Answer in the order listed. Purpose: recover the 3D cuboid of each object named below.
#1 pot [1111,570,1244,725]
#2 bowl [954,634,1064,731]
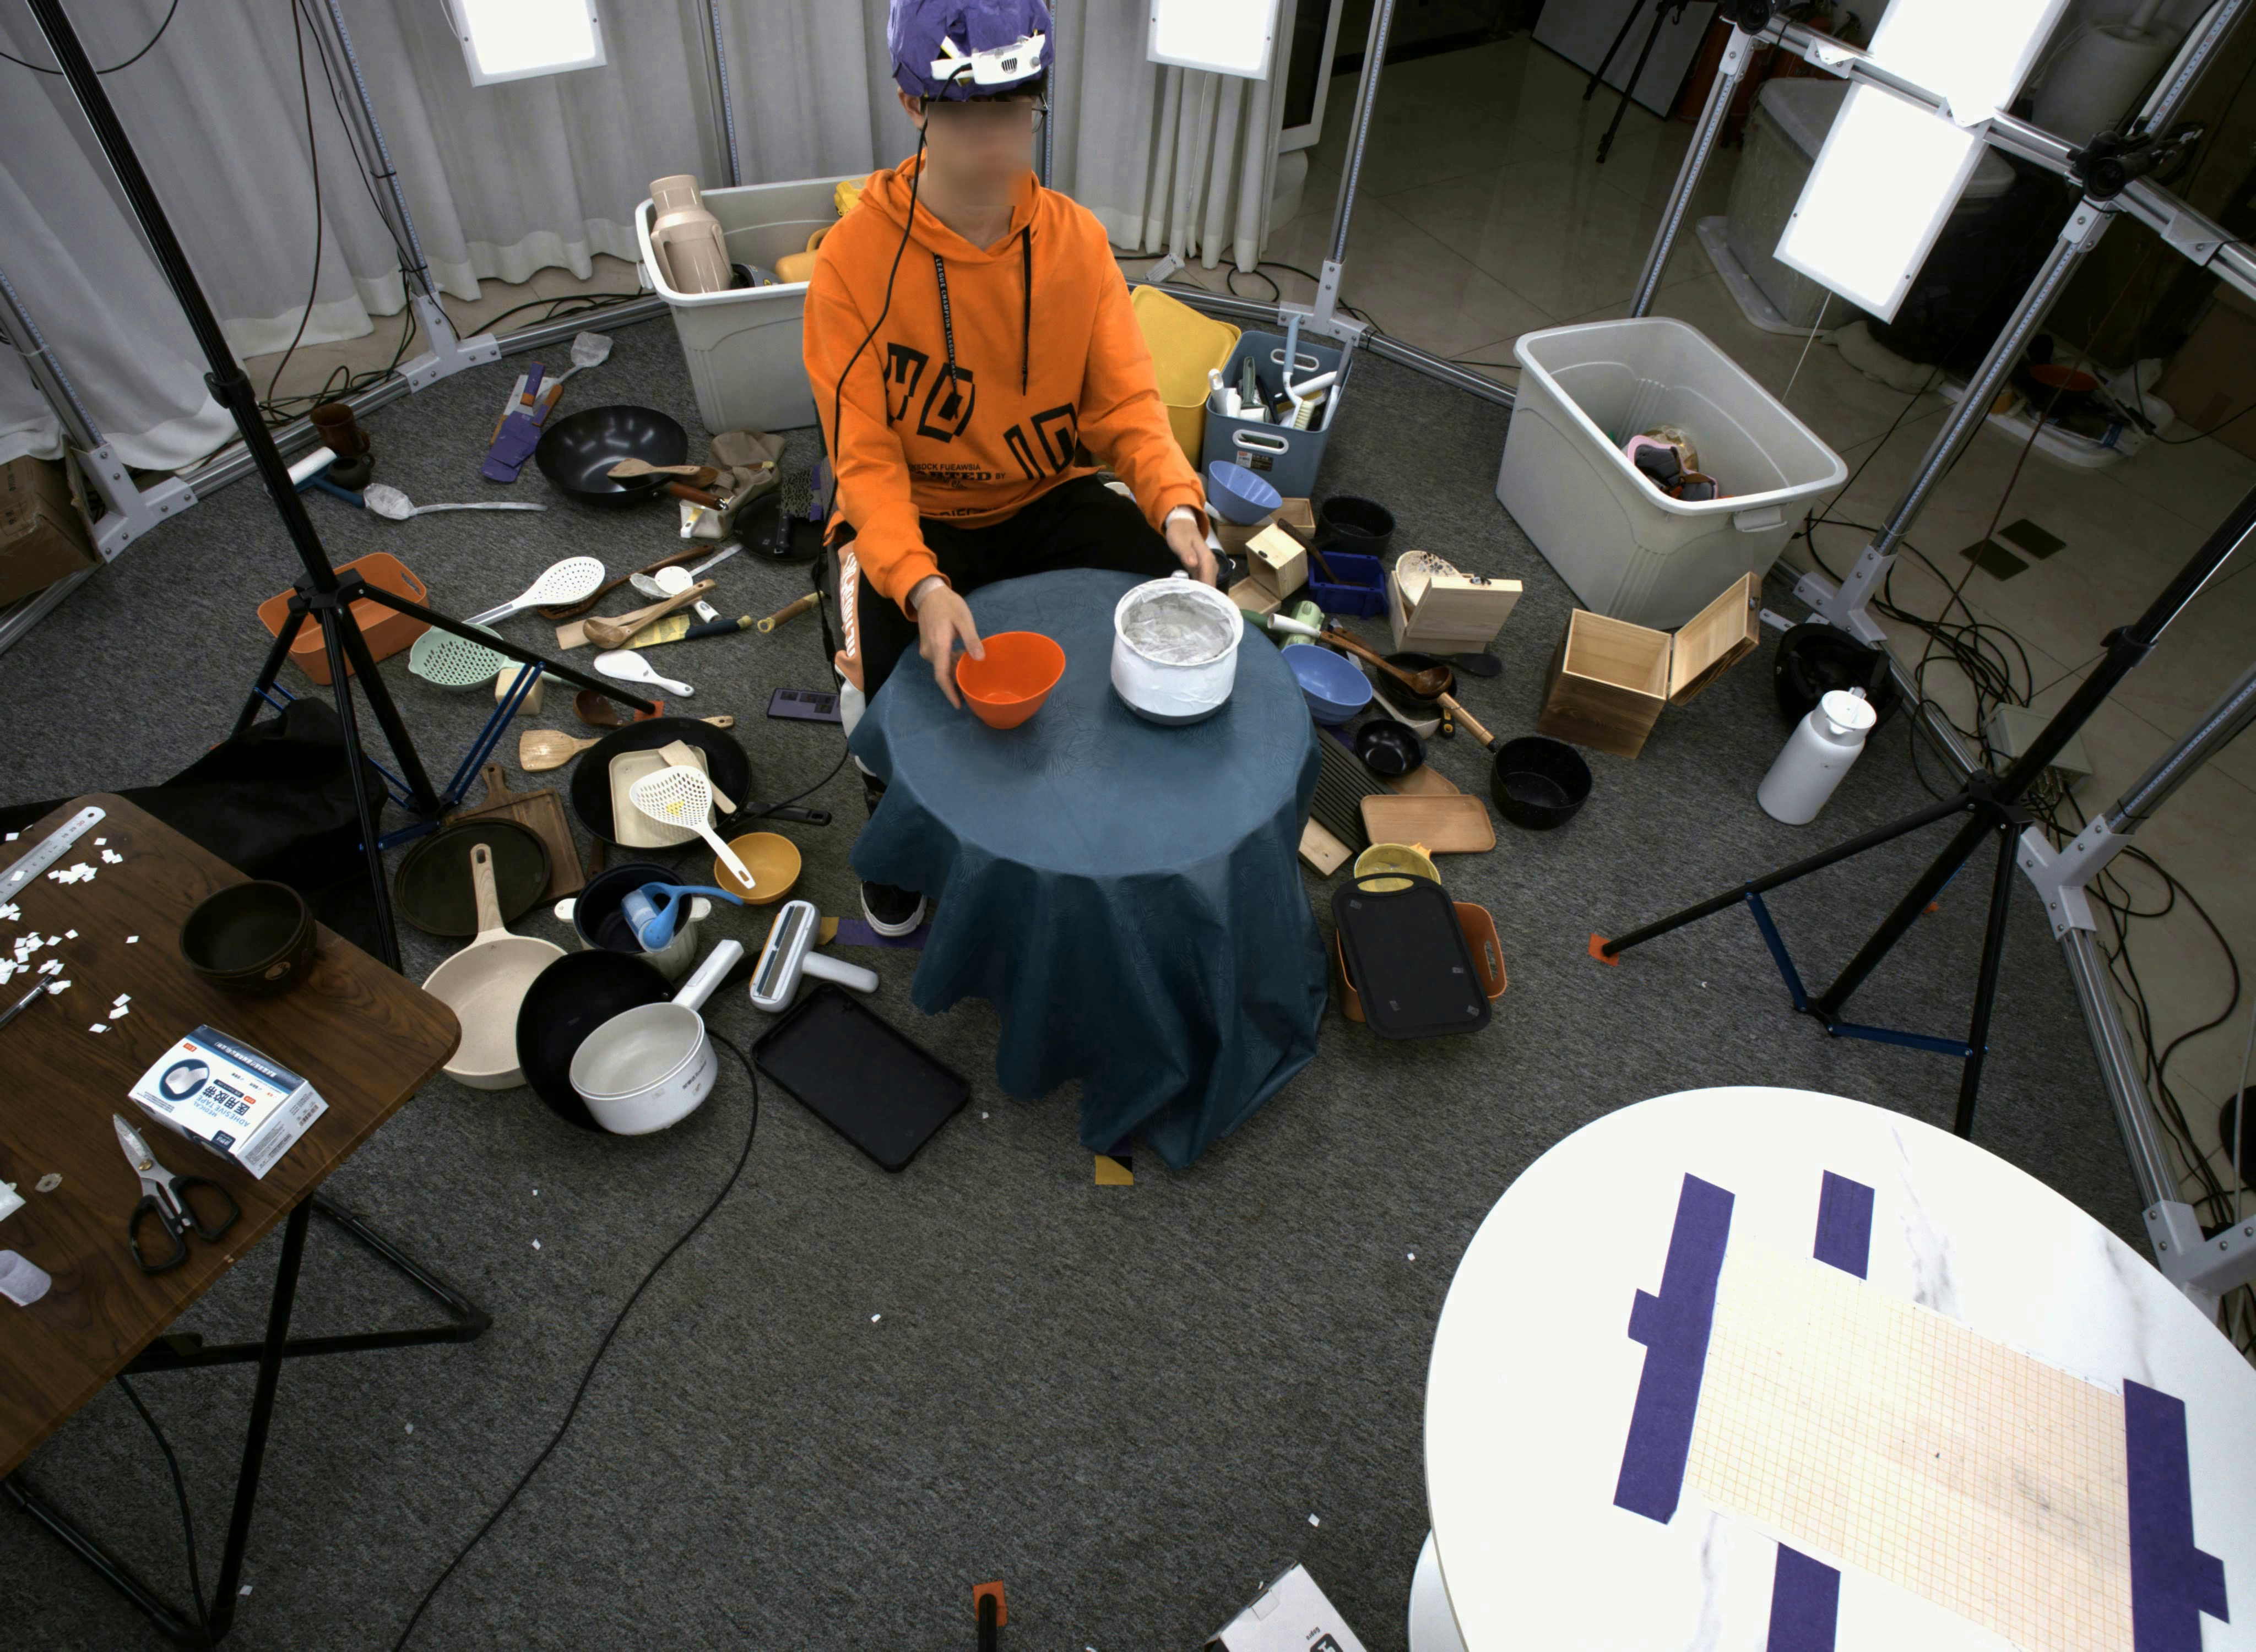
[{"bbox_3d":[0.066,-0.261,1.811,0.178,0.133,0.239,4,50,-2],"label":"pot"},{"bbox_3d":[-0.161,-0.185,1.757,0.148,0.102,0.152,1,48,-2],"label":"bowl"}]
